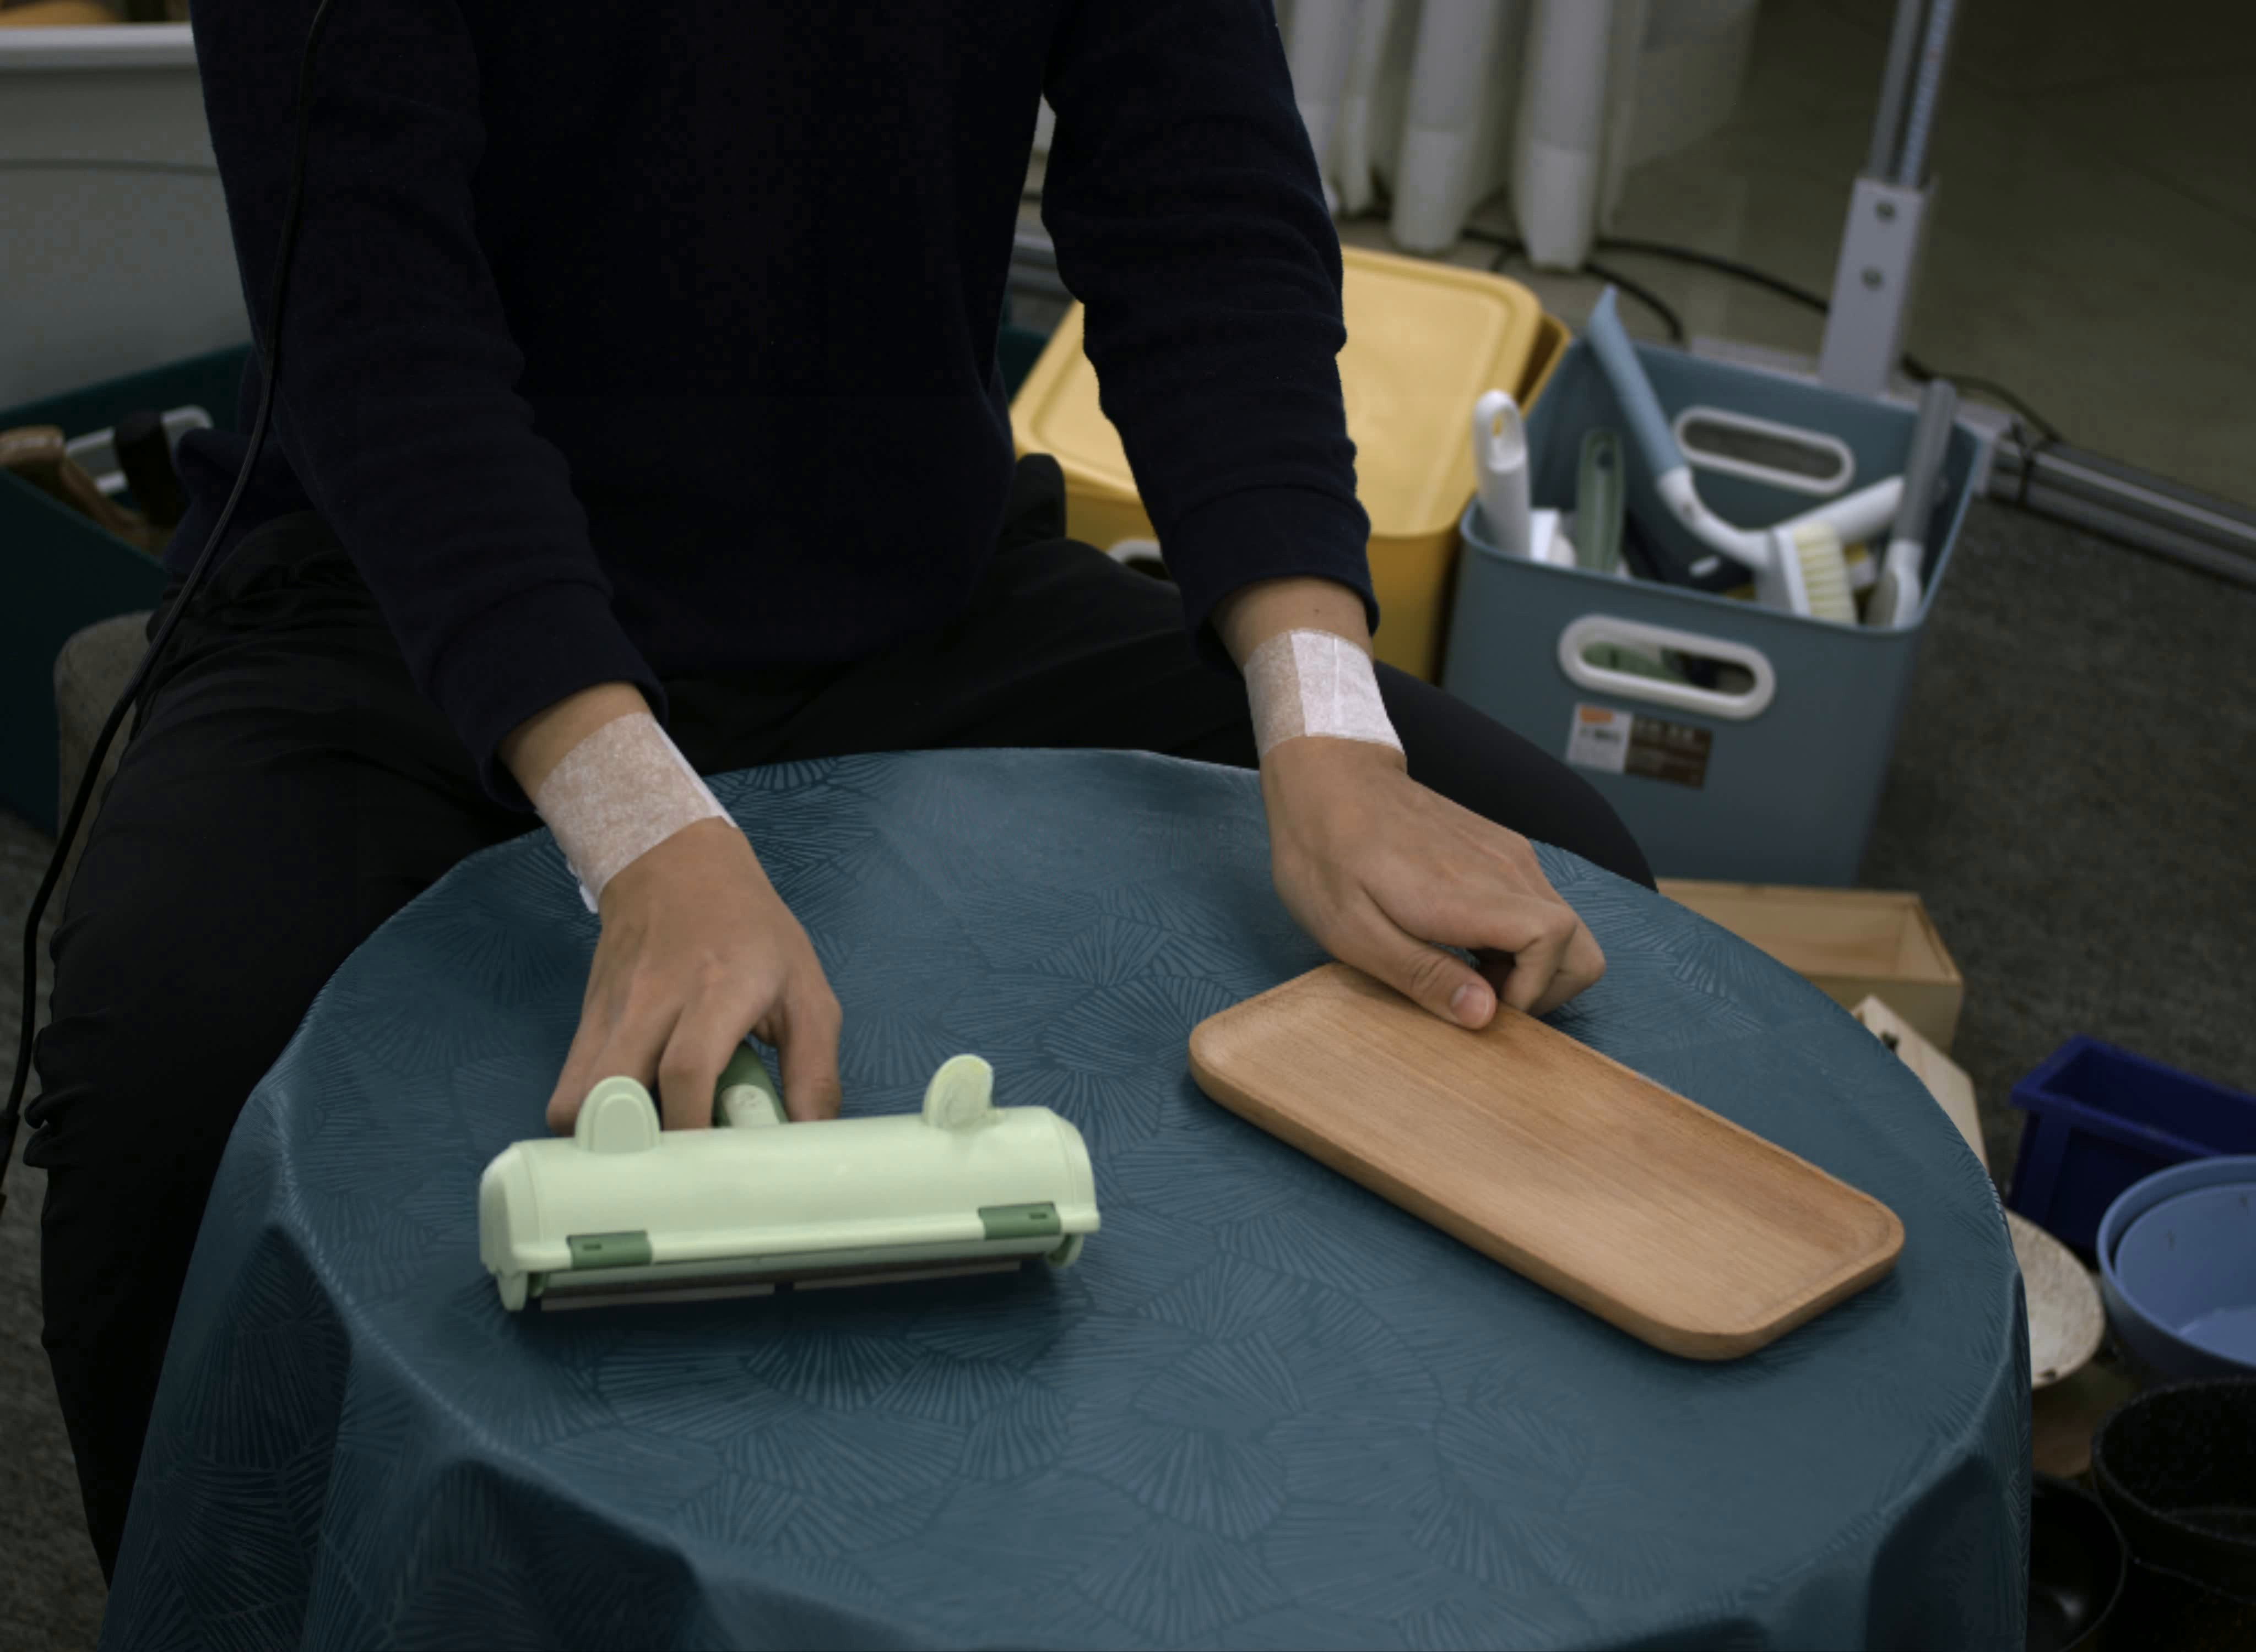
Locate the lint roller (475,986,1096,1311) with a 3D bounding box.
[{"bbox_3d":[-0.126,0.085,1.754,0.197,0.082,0.185,-3,34,-19],"label":"lint roller"}]

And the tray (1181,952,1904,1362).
[{"bbox_3d":[0.140,0.112,1.839,0.252,0.023,0.130,27,31,36],"label":"tray"}]
